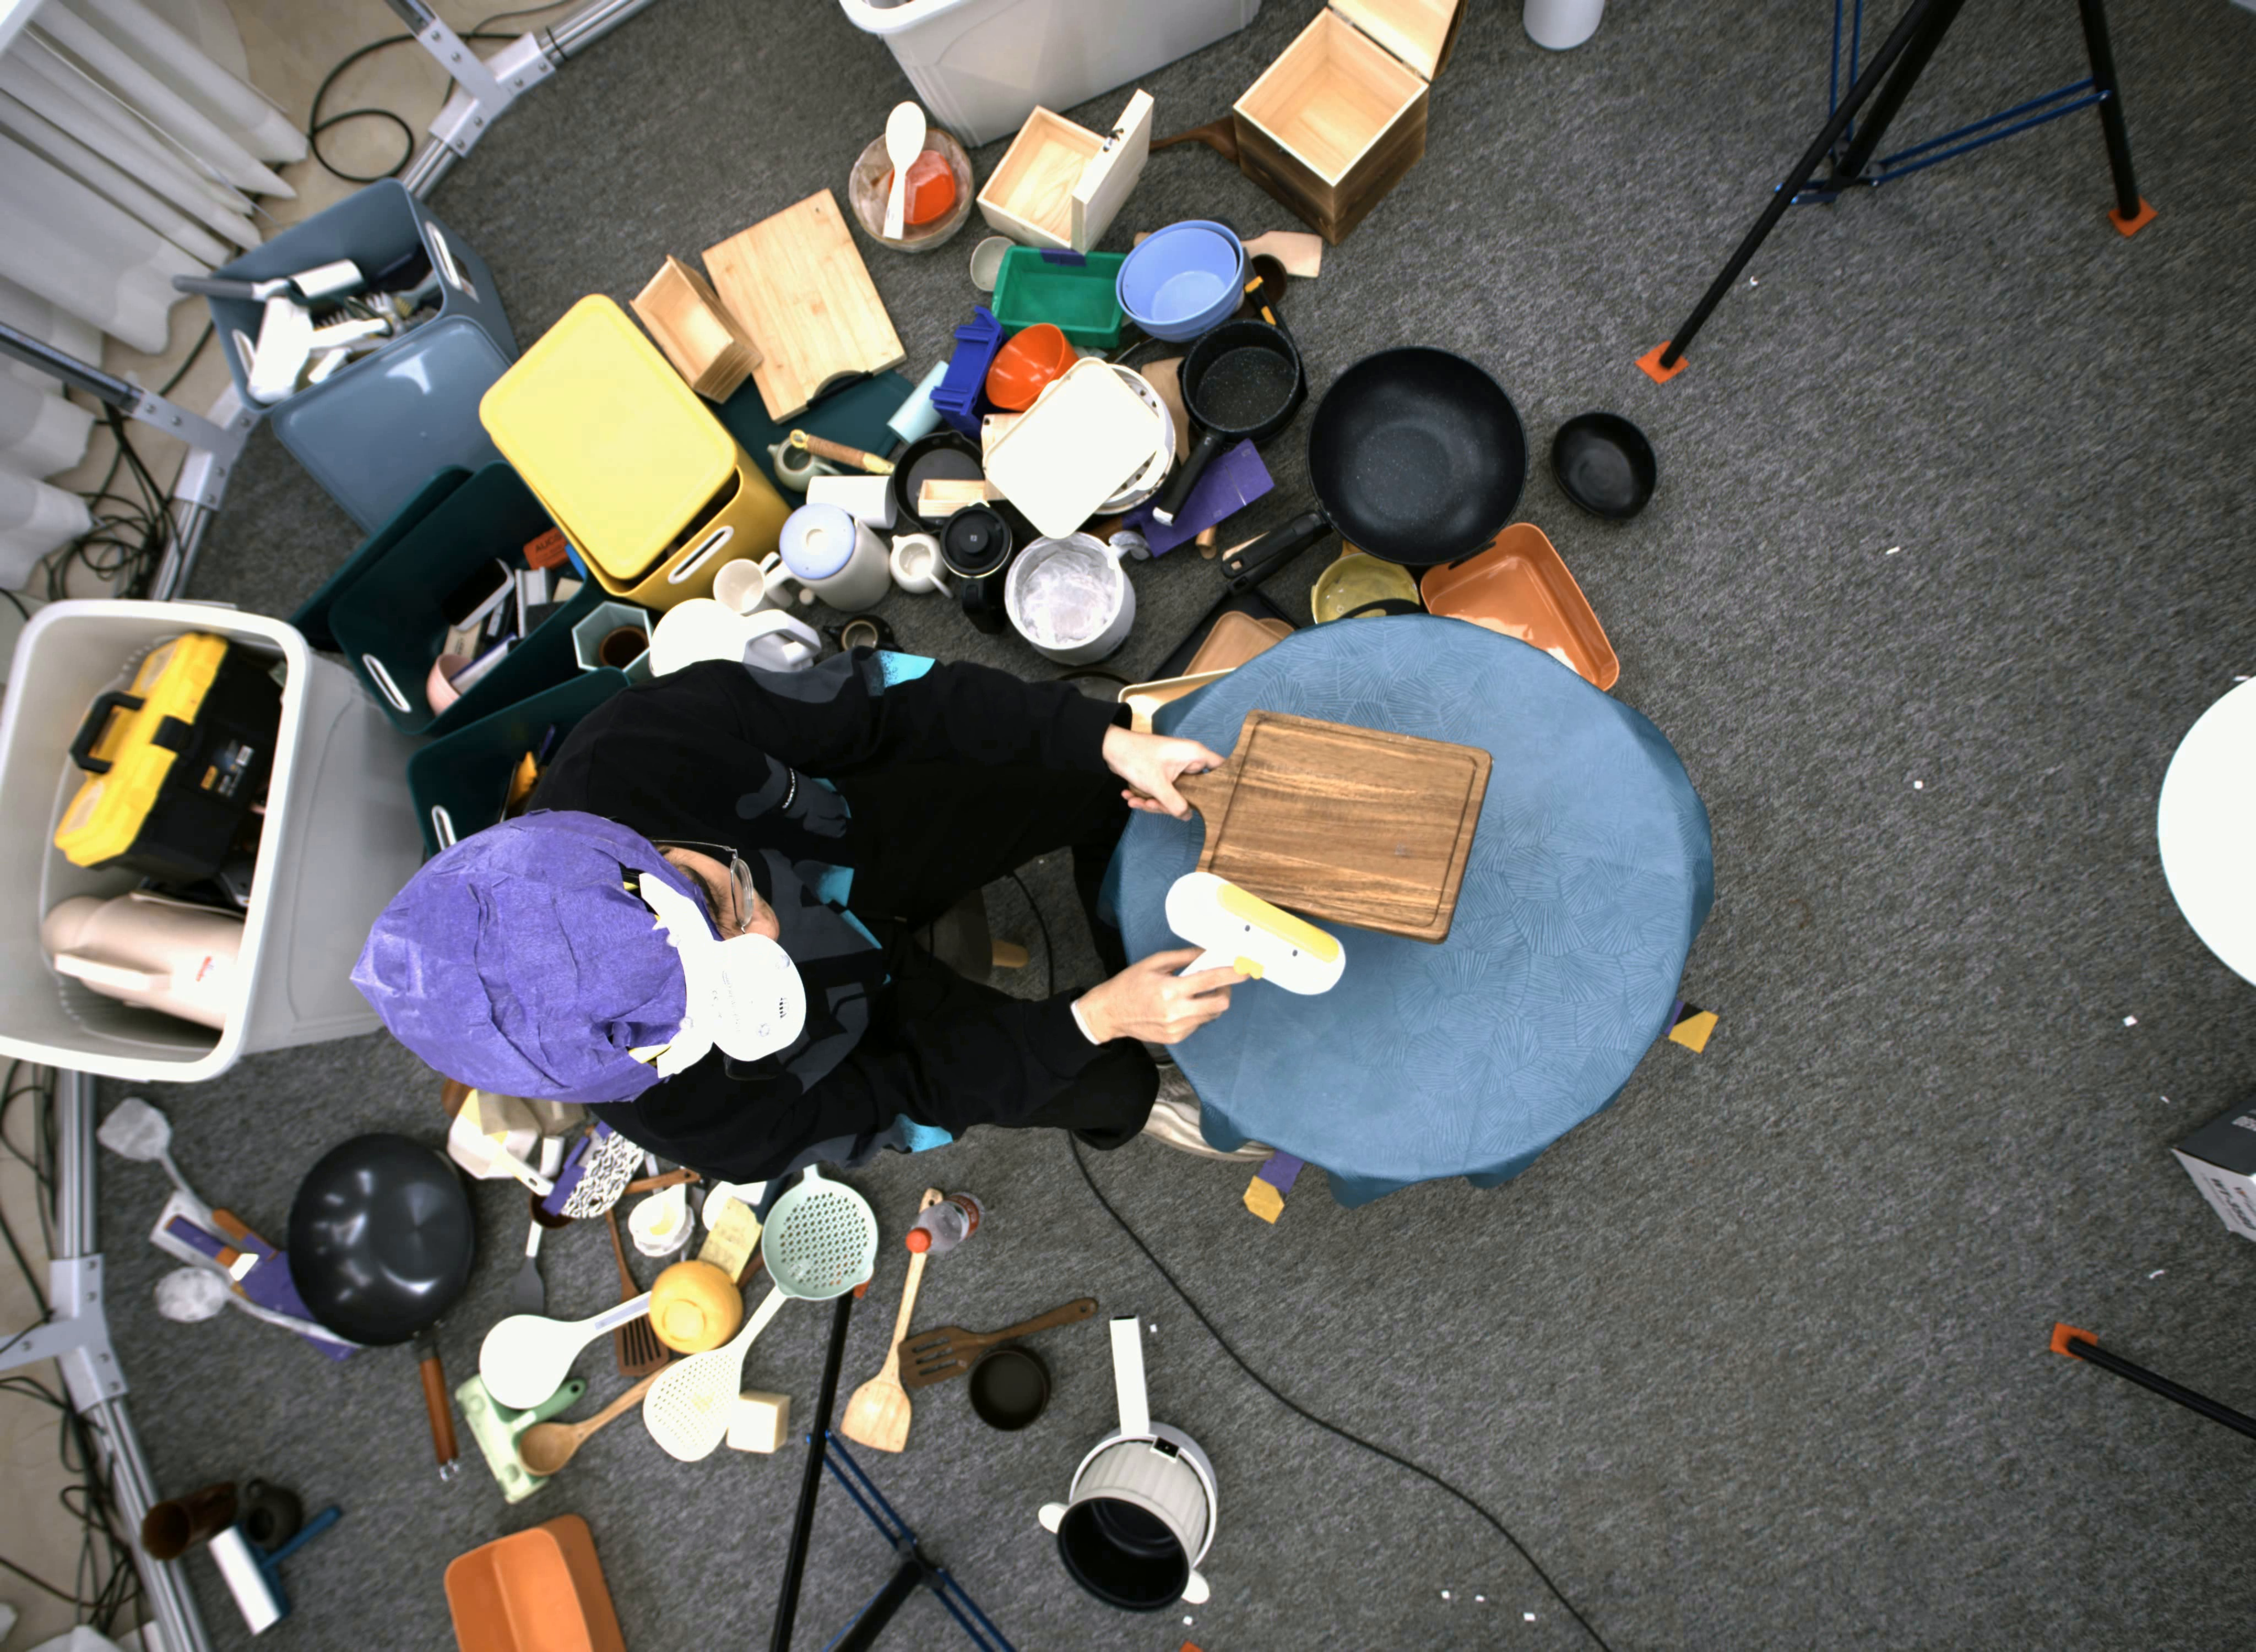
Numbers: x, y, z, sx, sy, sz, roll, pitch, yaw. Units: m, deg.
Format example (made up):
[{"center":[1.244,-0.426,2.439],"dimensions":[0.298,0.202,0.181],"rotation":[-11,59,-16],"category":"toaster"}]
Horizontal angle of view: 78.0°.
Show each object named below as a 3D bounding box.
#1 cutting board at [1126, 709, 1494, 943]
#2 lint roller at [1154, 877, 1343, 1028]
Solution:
[{"center":[0.162,-0.015,1.342],"dimensions":[0.353,0.023,0.198],"rotation":[12,76,22],"category":"cutting board"},{"center":[0.086,0.135,1.346],"dimensions":[0.193,0.197,0.072],"rotation":[20,54,-23],"category":"lint roller"}]
